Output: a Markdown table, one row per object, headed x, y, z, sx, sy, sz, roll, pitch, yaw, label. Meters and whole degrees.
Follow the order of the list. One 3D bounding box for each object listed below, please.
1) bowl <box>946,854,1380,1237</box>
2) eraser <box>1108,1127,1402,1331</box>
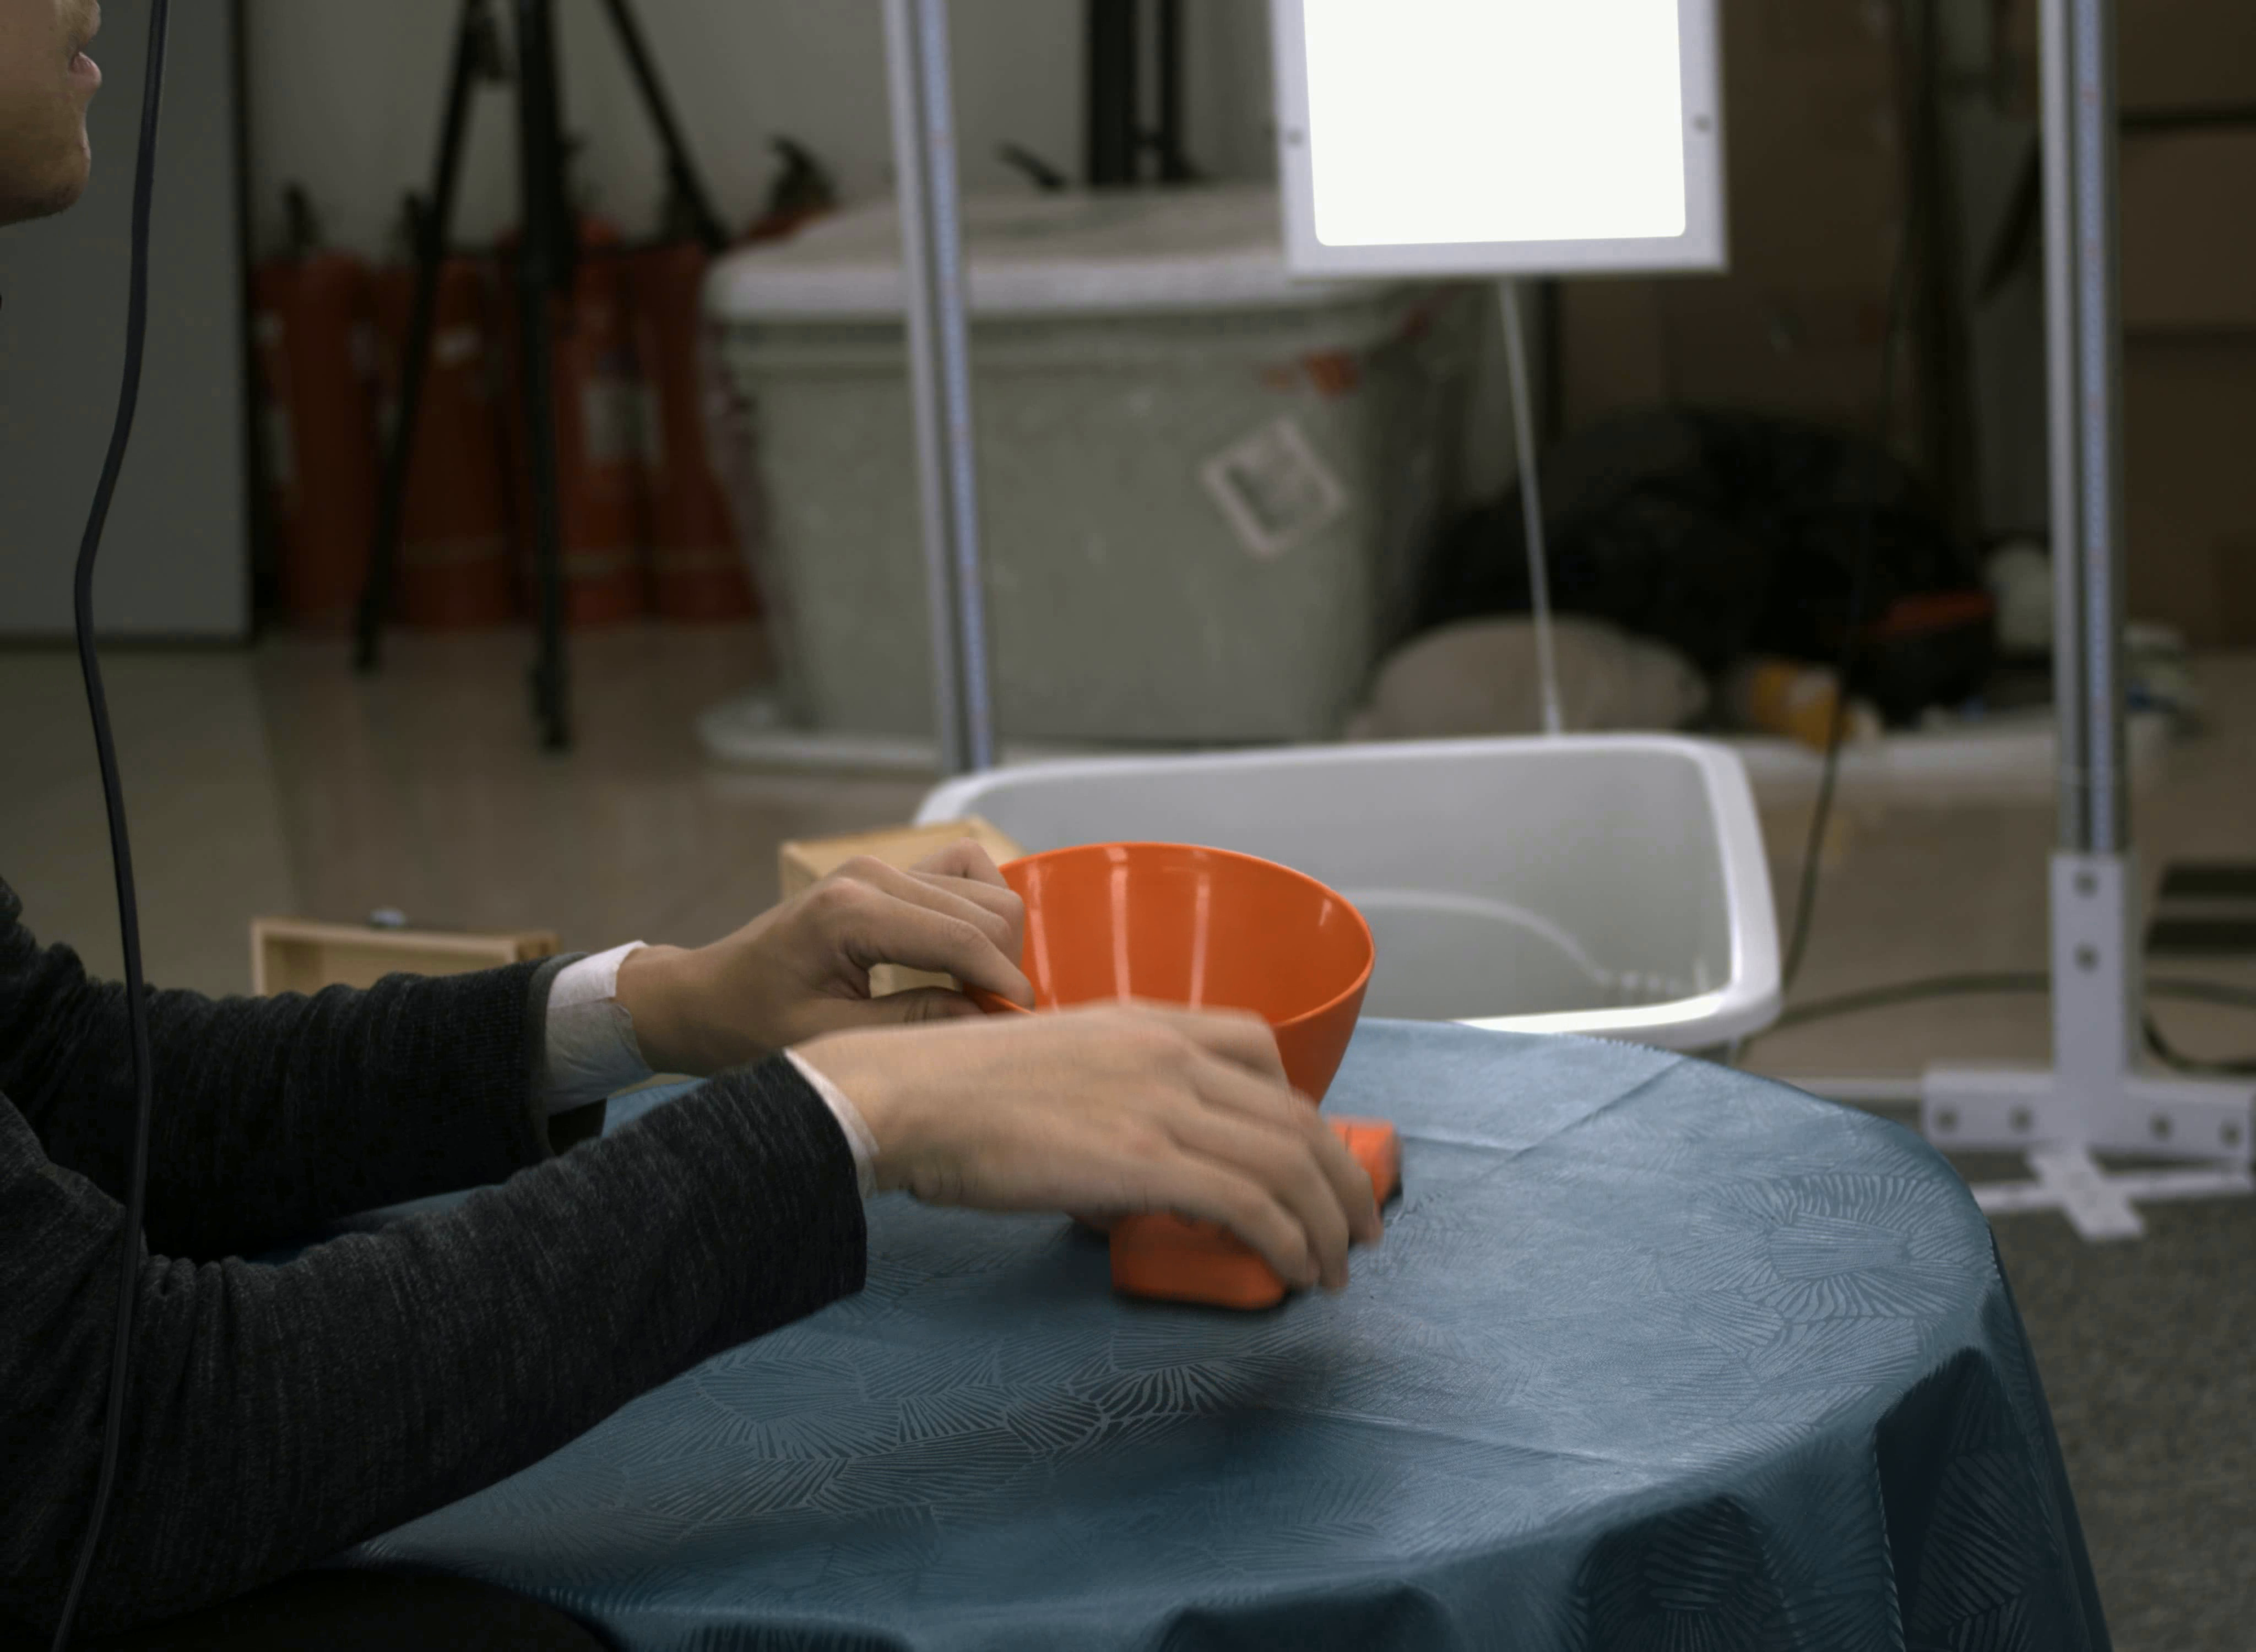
| x | y | z | sx | sy | sz | roll | pitch | yaw | label |
| --- | --- | --- | --- | --- | --- | --- | --- | --- | --- |
| 0.011 | 0.079 | 1.864 | 0.147 | 0.105 | 0.148 | 0 | 15 | -1 | bowl |
| 0.040 | 0.122 | 1.685 | 0.060 | 0.023 | 0.106 | 6 | 20 | 27 | eraser |
